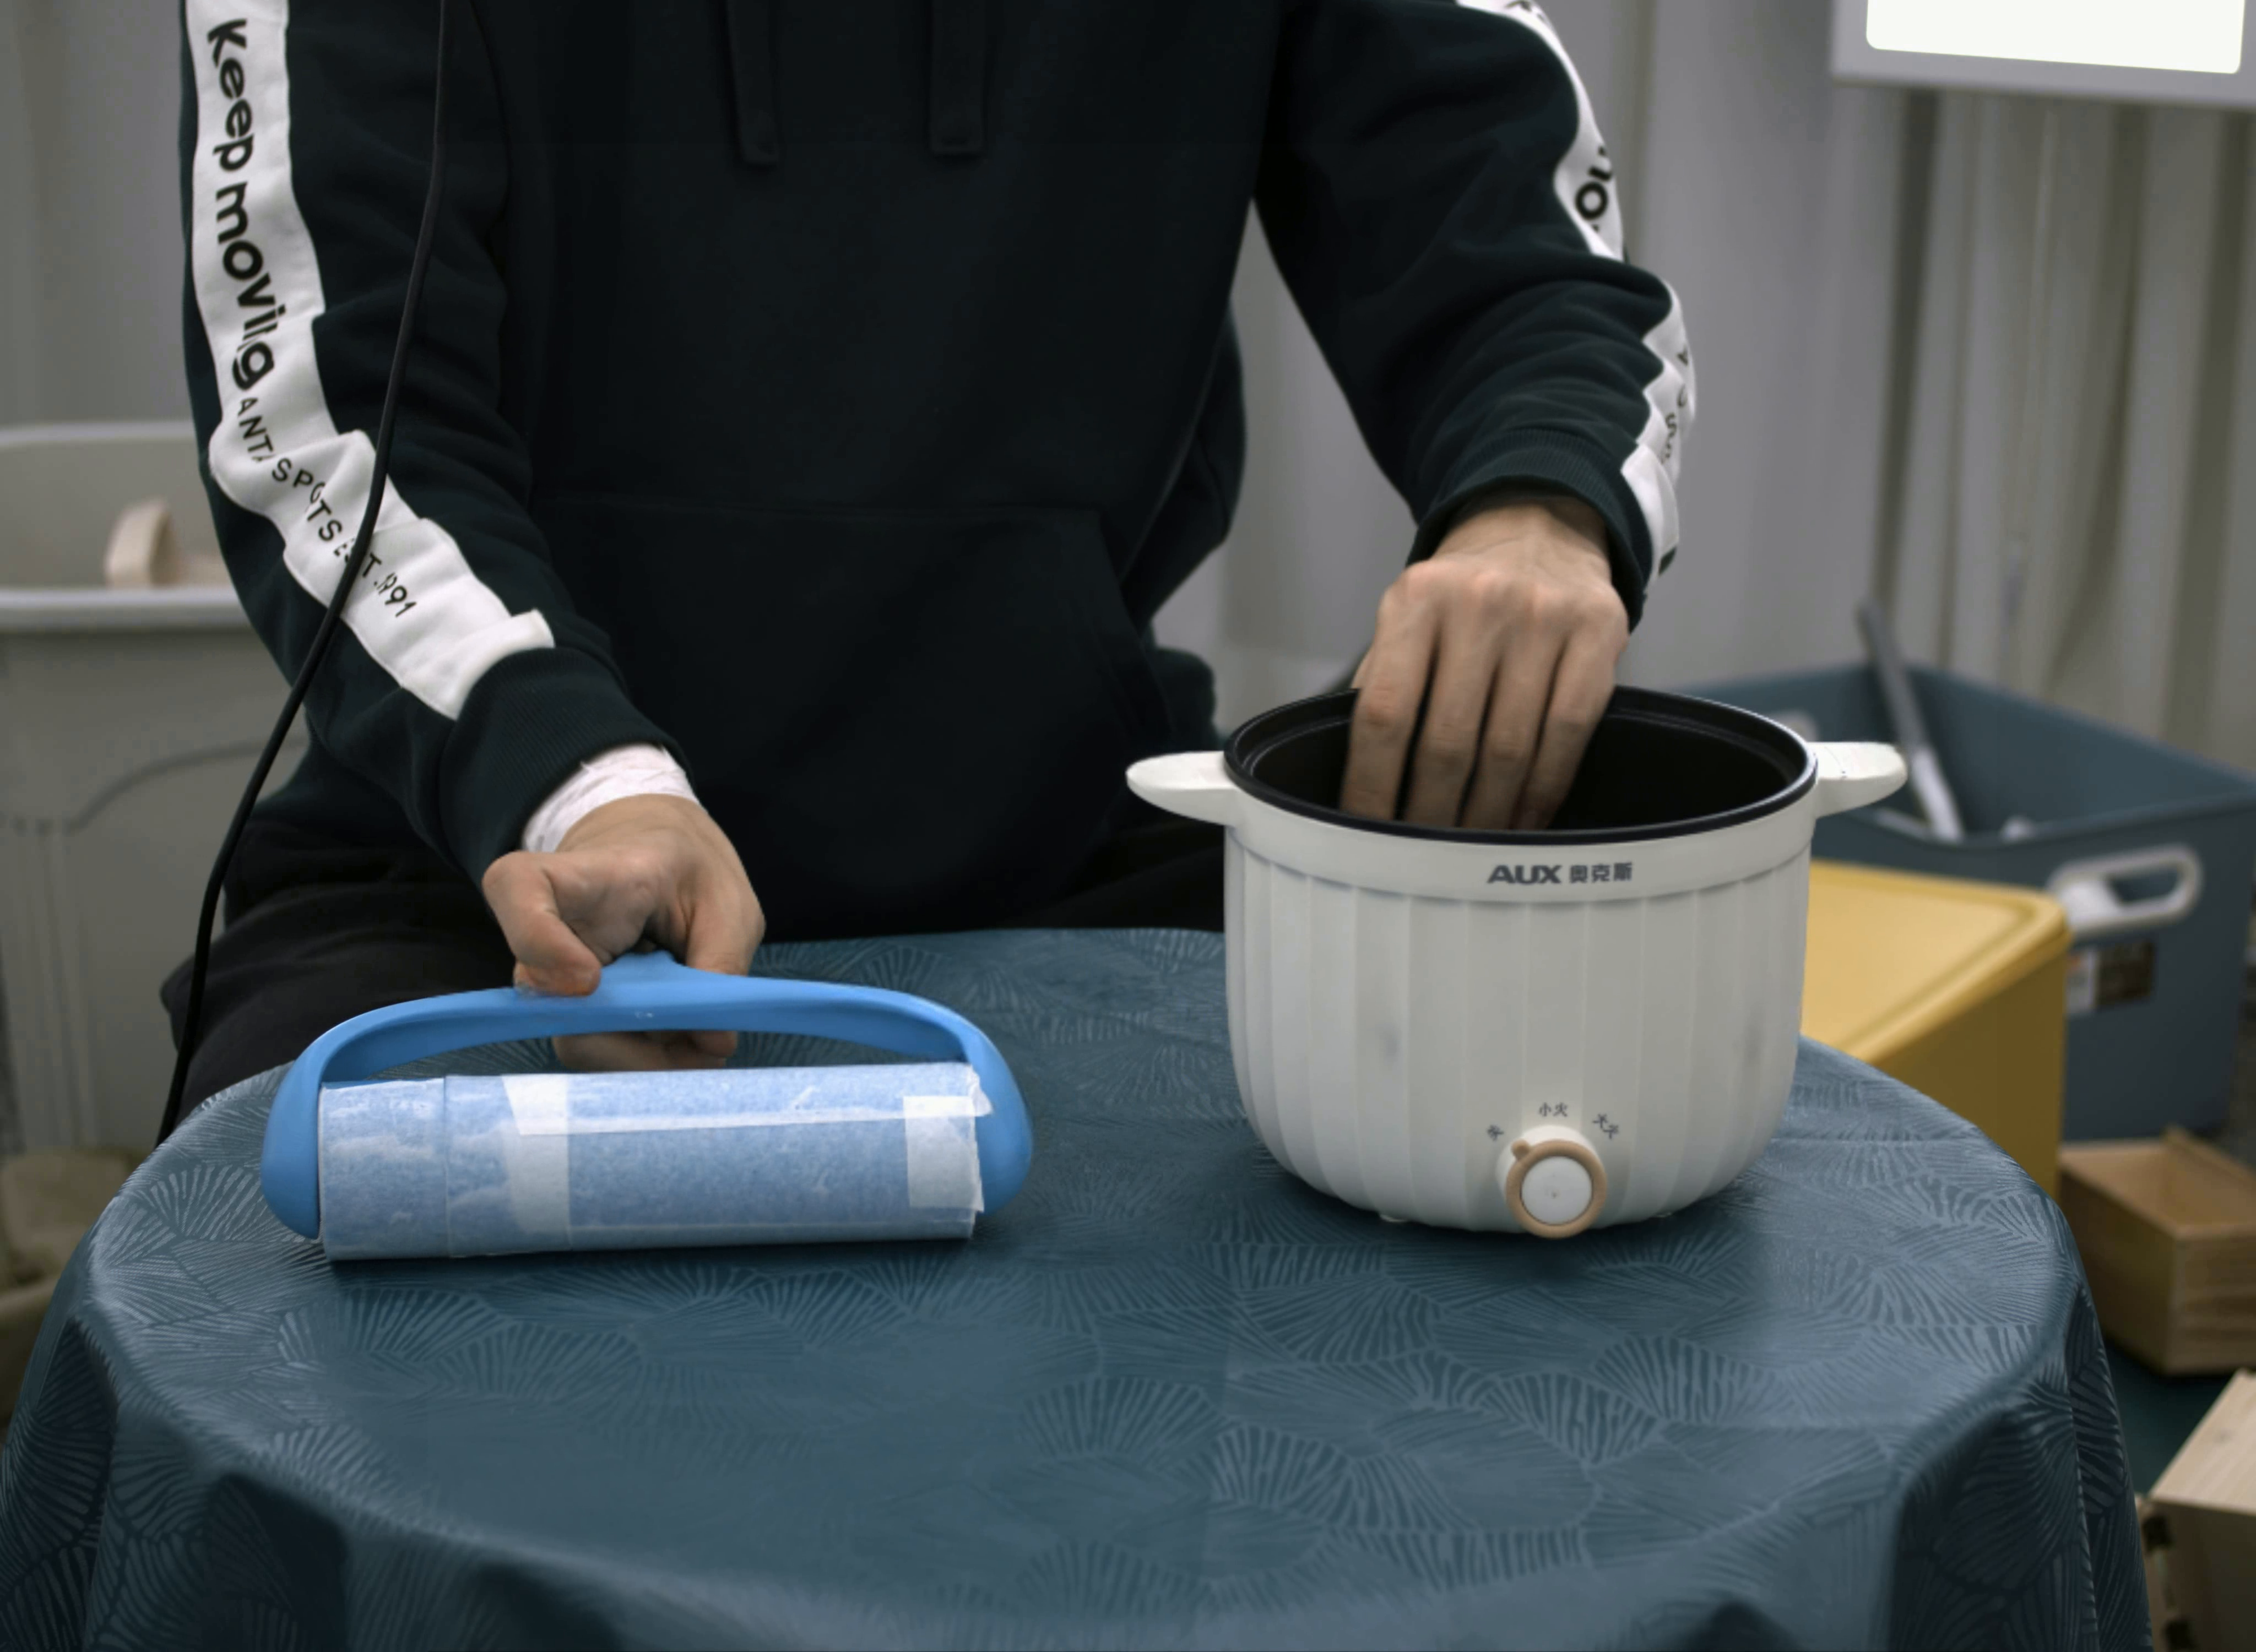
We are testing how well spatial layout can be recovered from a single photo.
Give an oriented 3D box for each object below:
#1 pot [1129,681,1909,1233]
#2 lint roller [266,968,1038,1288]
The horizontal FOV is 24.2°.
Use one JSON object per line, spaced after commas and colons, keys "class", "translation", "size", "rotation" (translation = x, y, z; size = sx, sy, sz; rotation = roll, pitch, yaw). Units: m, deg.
{"class": "pot", "translation": [0.121, 0.042, 1.615], "size": [0.240, 0.144, 0.189], "rotation": [-2, 13, -5]}
{"class": "lint roller", "translation": [-0.151, 0.077, 1.612], "size": [0.229, 0.068, 0.178], "rotation": [-6, 26, -10]}
